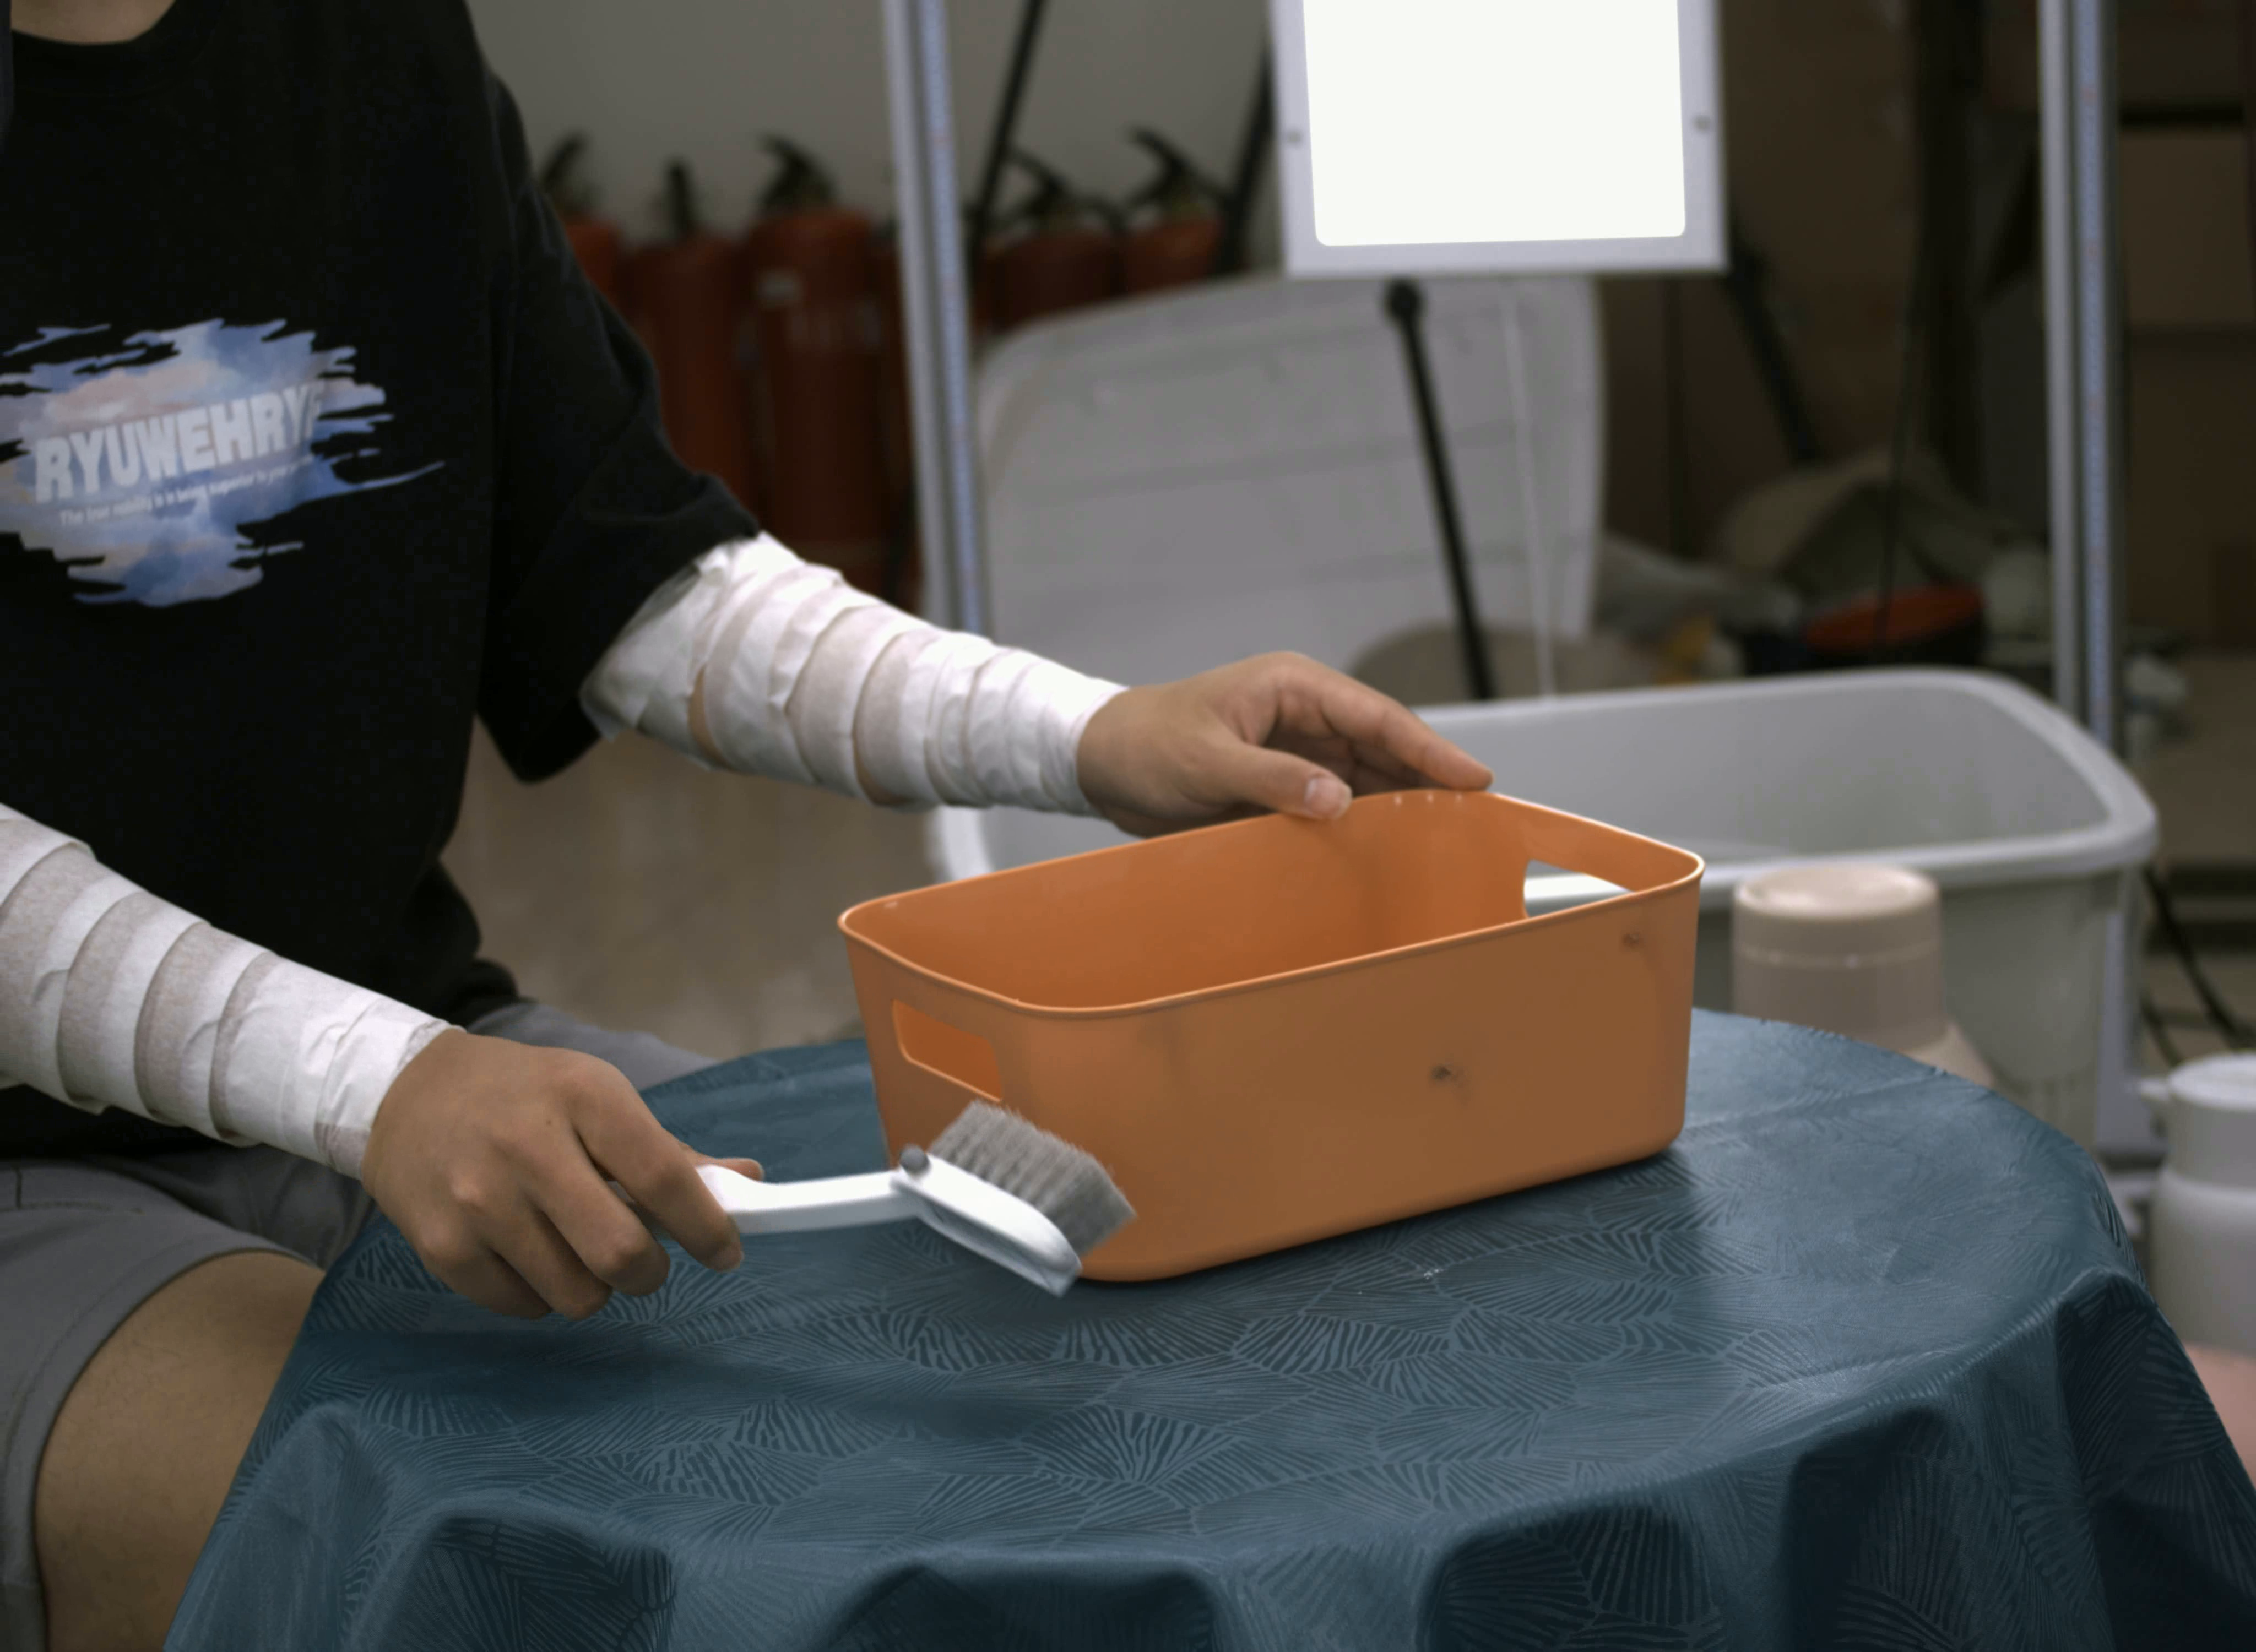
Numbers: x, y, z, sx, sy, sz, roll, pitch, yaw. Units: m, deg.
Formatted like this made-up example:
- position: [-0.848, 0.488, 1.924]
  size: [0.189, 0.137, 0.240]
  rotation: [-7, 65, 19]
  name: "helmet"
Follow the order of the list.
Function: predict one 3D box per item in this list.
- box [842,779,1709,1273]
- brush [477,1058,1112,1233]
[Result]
- position: [0.052, 0.066, 1.897]
  size: [0.267, 0.103, 0.203]
  rotation: [-12, 16, -26]
  name: "box"
- position: [-0.108, 0.101, 1.755]
  size: [0.249, 0.034, 0.049]
  rotation: [-3, 45, 39]
  name: "brush"
